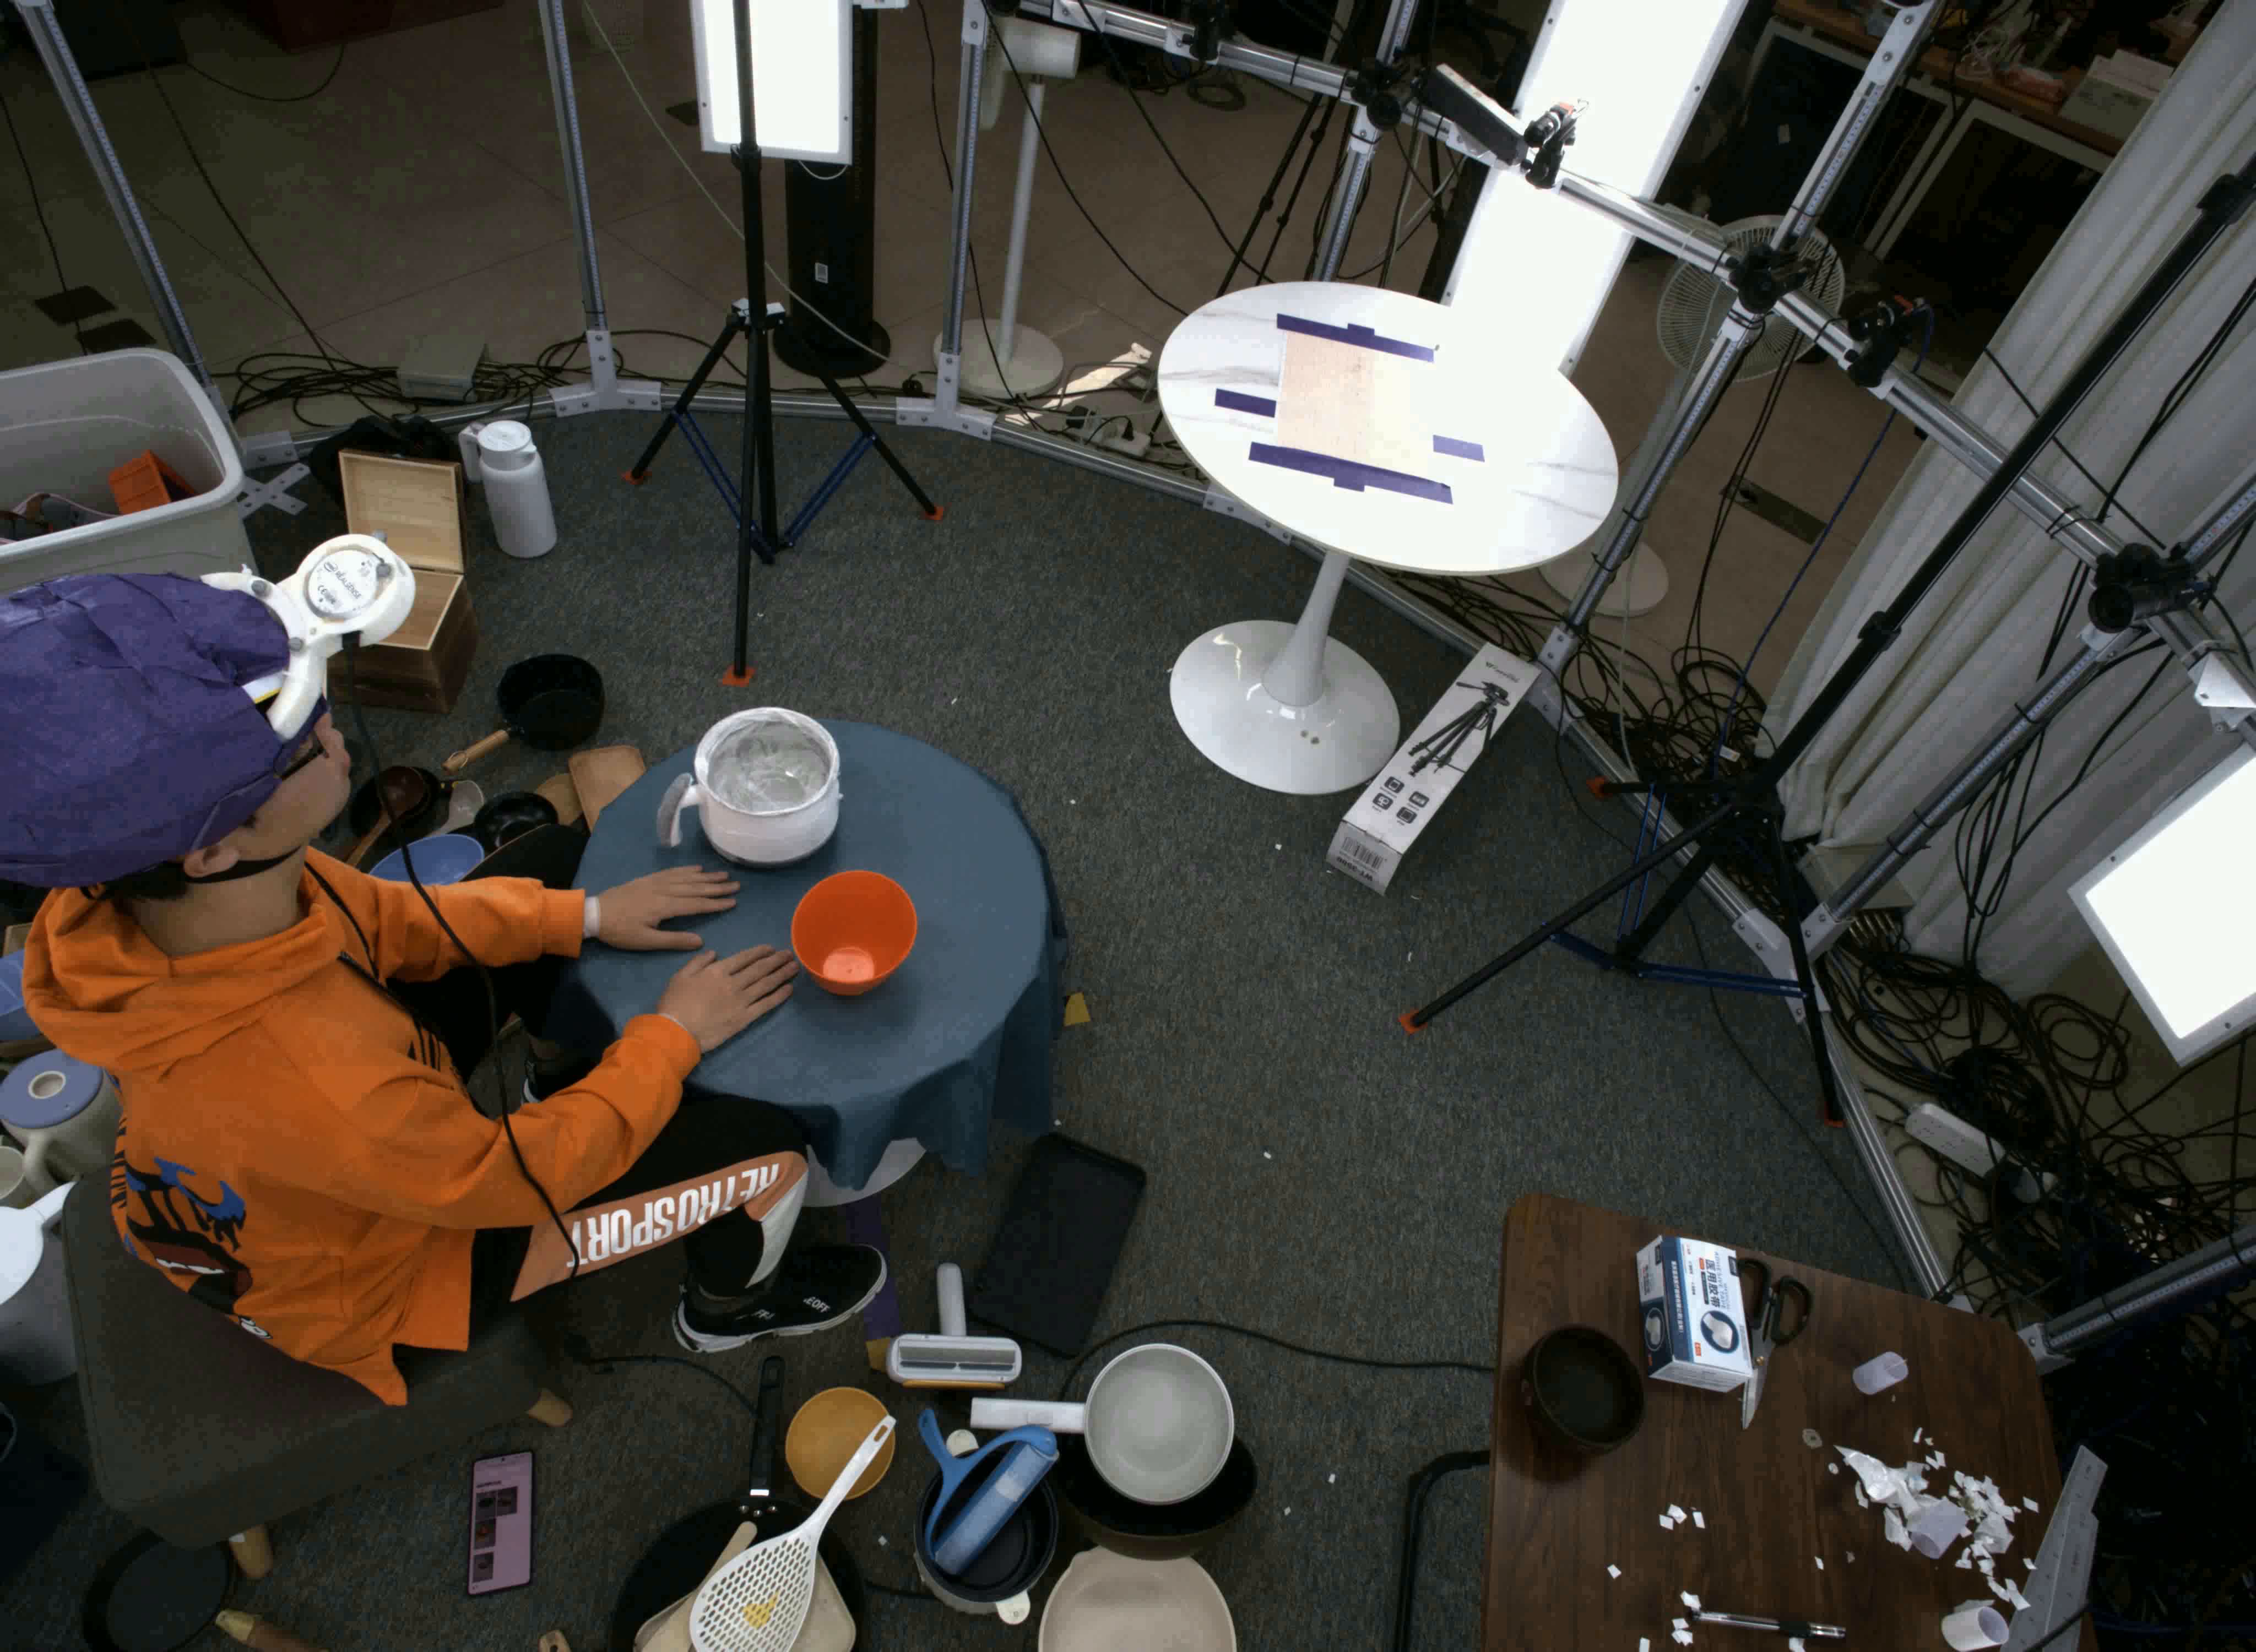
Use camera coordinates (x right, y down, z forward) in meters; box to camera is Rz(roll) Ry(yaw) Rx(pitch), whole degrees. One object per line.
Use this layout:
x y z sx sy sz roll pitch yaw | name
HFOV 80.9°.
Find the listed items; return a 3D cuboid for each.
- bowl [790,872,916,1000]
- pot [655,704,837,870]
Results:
-0.331 0.144 1.570 0.147 0.107 0.145 7 53 -7 | bowl
-0.485 -0.039 1.638 0.235 0.139 0.174 -17 58 -25 | pot
